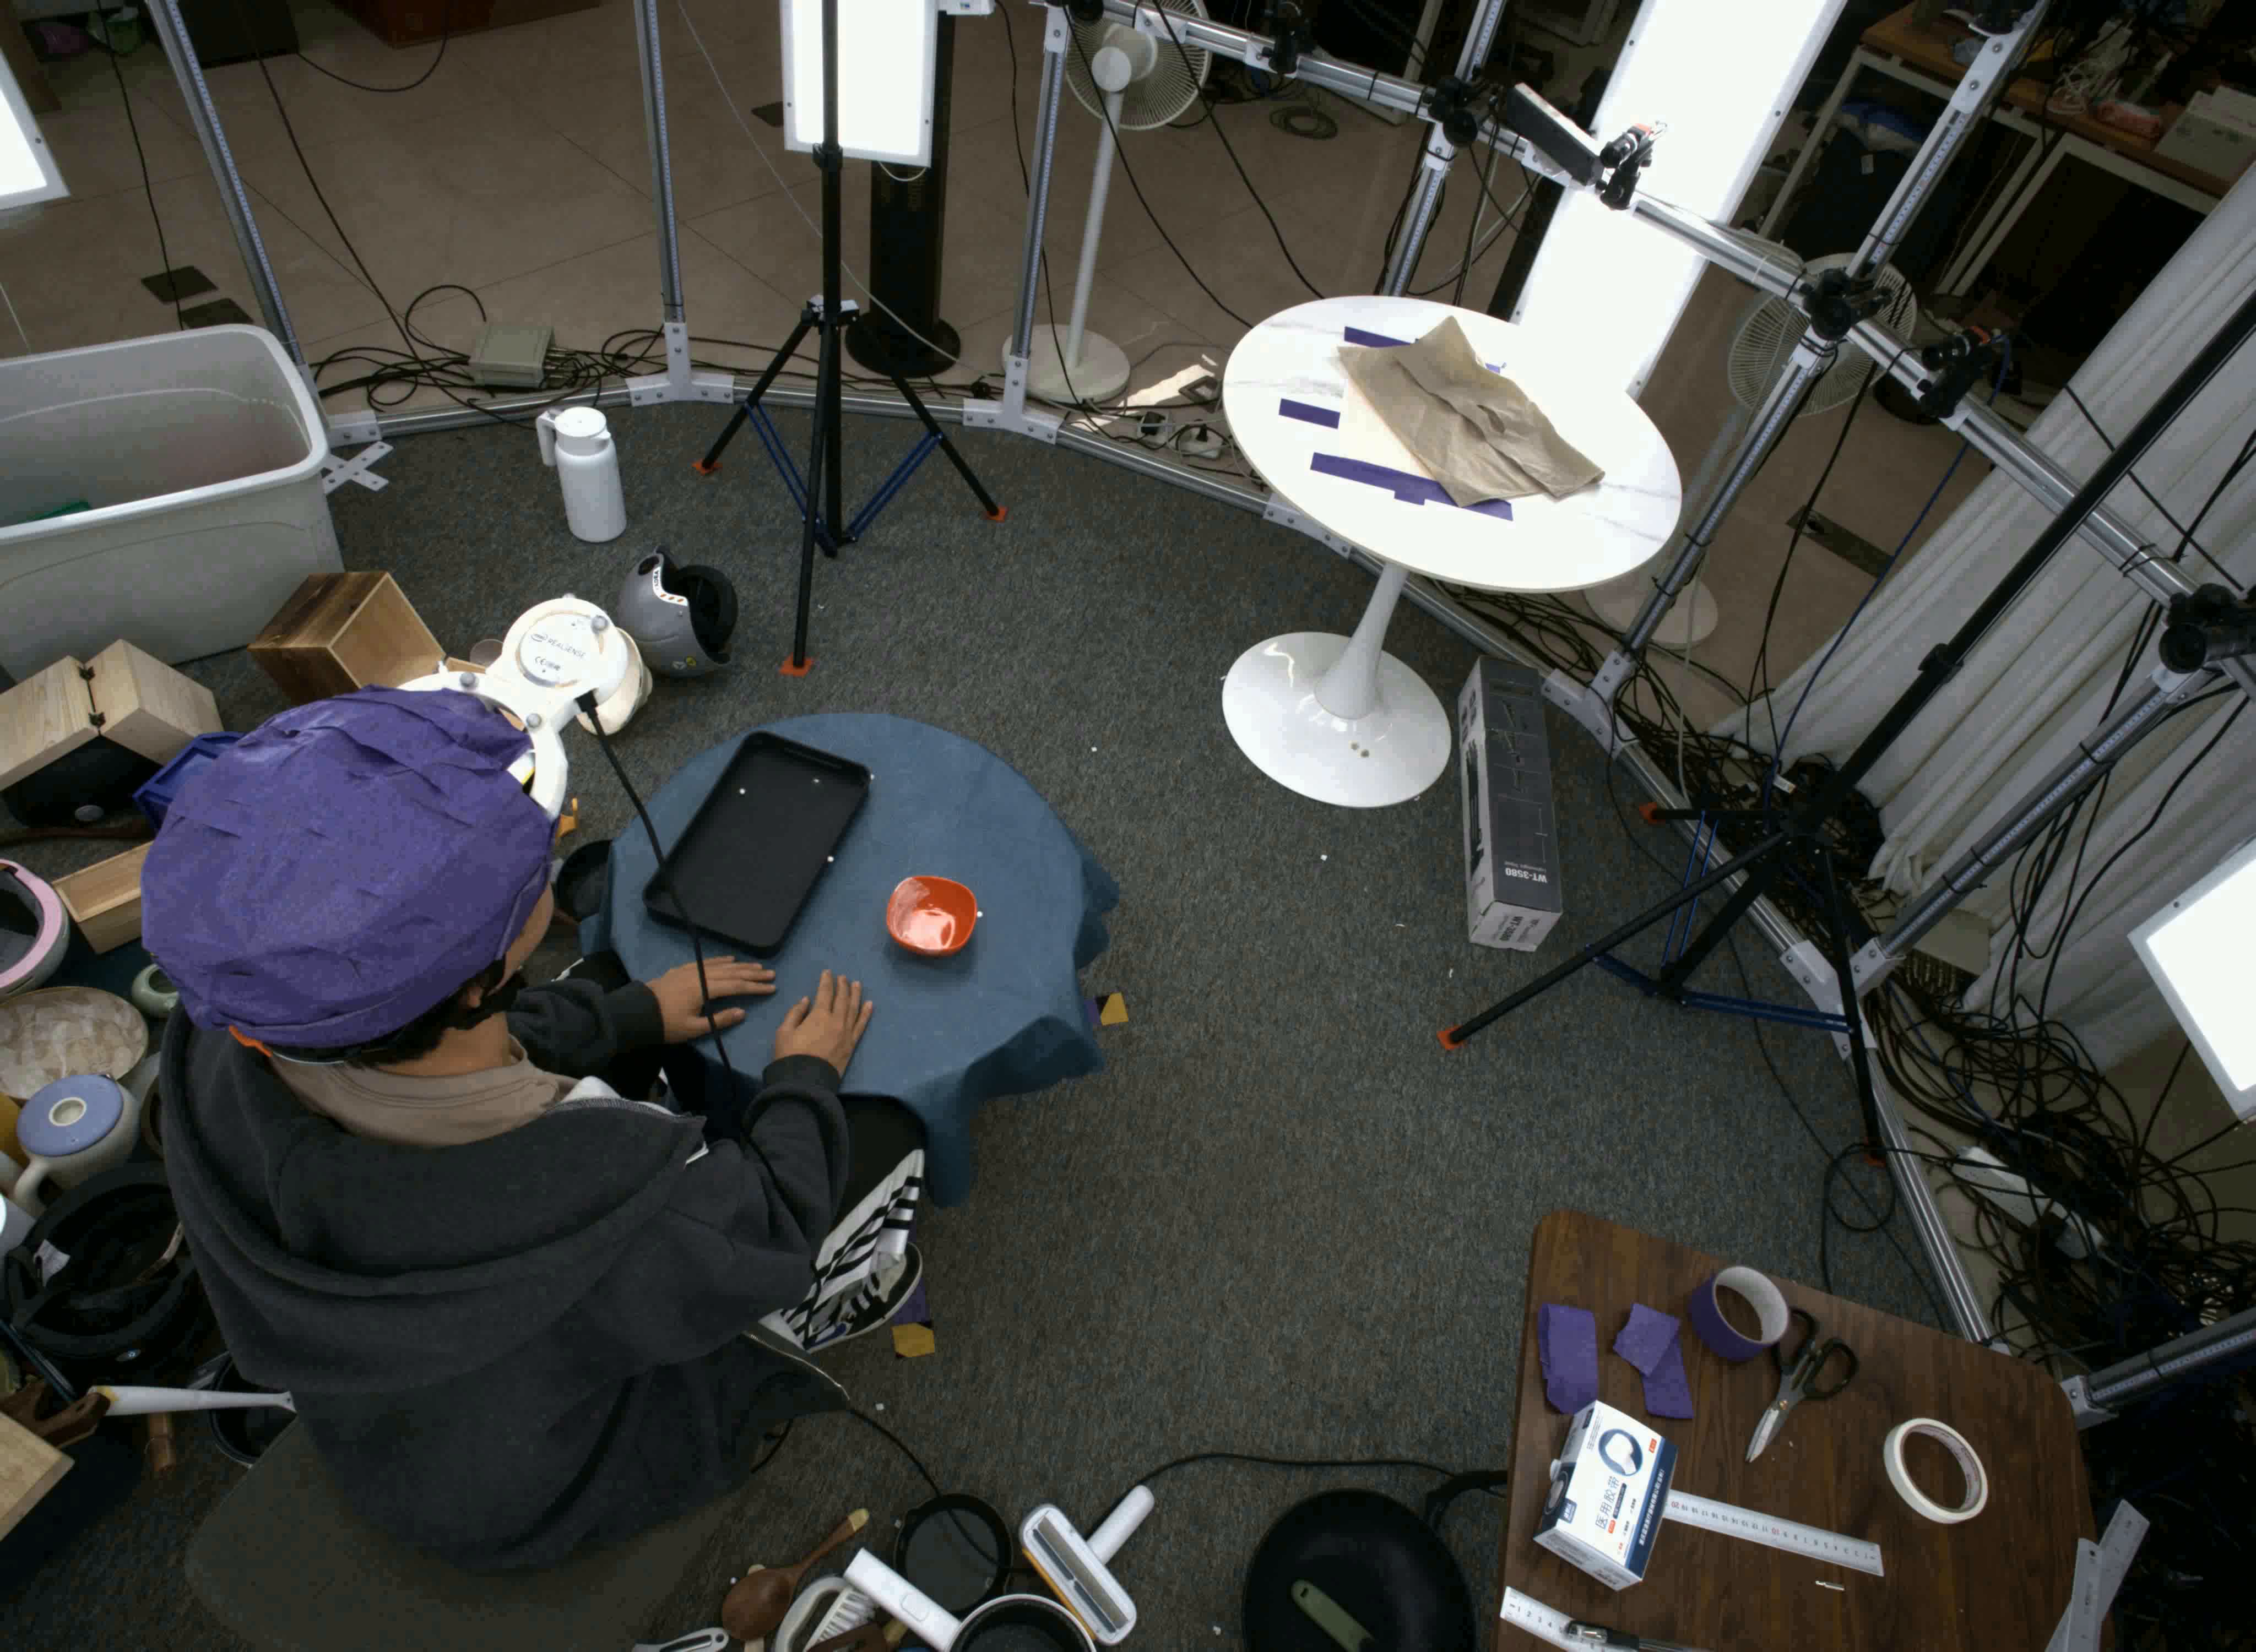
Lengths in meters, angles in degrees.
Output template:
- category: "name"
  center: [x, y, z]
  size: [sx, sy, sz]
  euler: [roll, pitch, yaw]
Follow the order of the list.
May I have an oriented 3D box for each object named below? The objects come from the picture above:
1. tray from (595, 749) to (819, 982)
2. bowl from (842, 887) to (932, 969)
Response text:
- category: "tray"
  center: [-0.531, 0.042, 1.645]
  size: [0.183, 0.038, 0.314]
  euler: [17, 51, -1]
- category: "bowl"
  center: [-0.301, 0.134, 1.625]
  size: [0.119, 0.052, 0.117]
  euler: [9, 50, -9]
